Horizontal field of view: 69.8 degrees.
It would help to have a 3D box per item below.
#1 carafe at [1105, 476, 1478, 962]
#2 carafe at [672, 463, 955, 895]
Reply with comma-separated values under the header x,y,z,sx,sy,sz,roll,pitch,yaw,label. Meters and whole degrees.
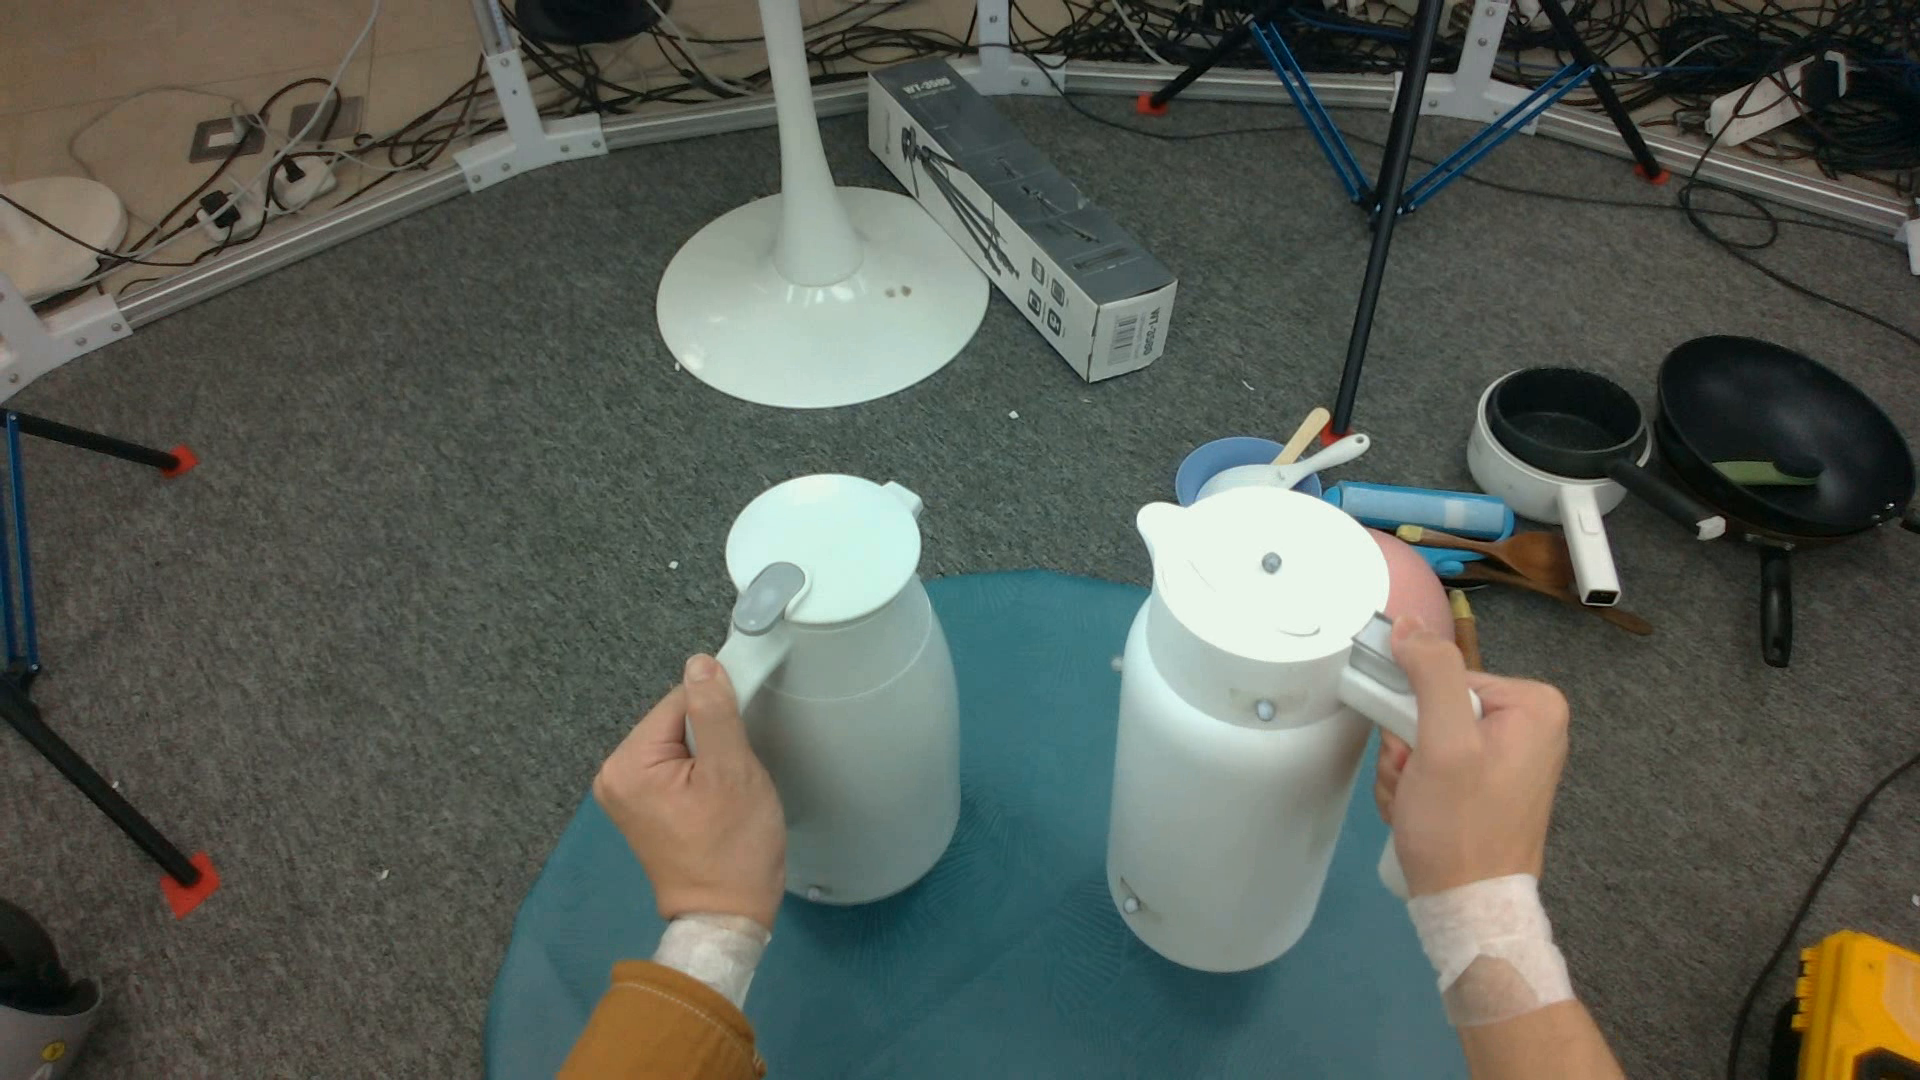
x,y,z,sx,sy,sz,roll,pitch,yaw,label
0.148,0.103,0.671,0.173,0.267,0.124,32,54,28,carafe
-0.079,0.085,0.720,0.132,0.247,0.168,29,55,22,carafe
